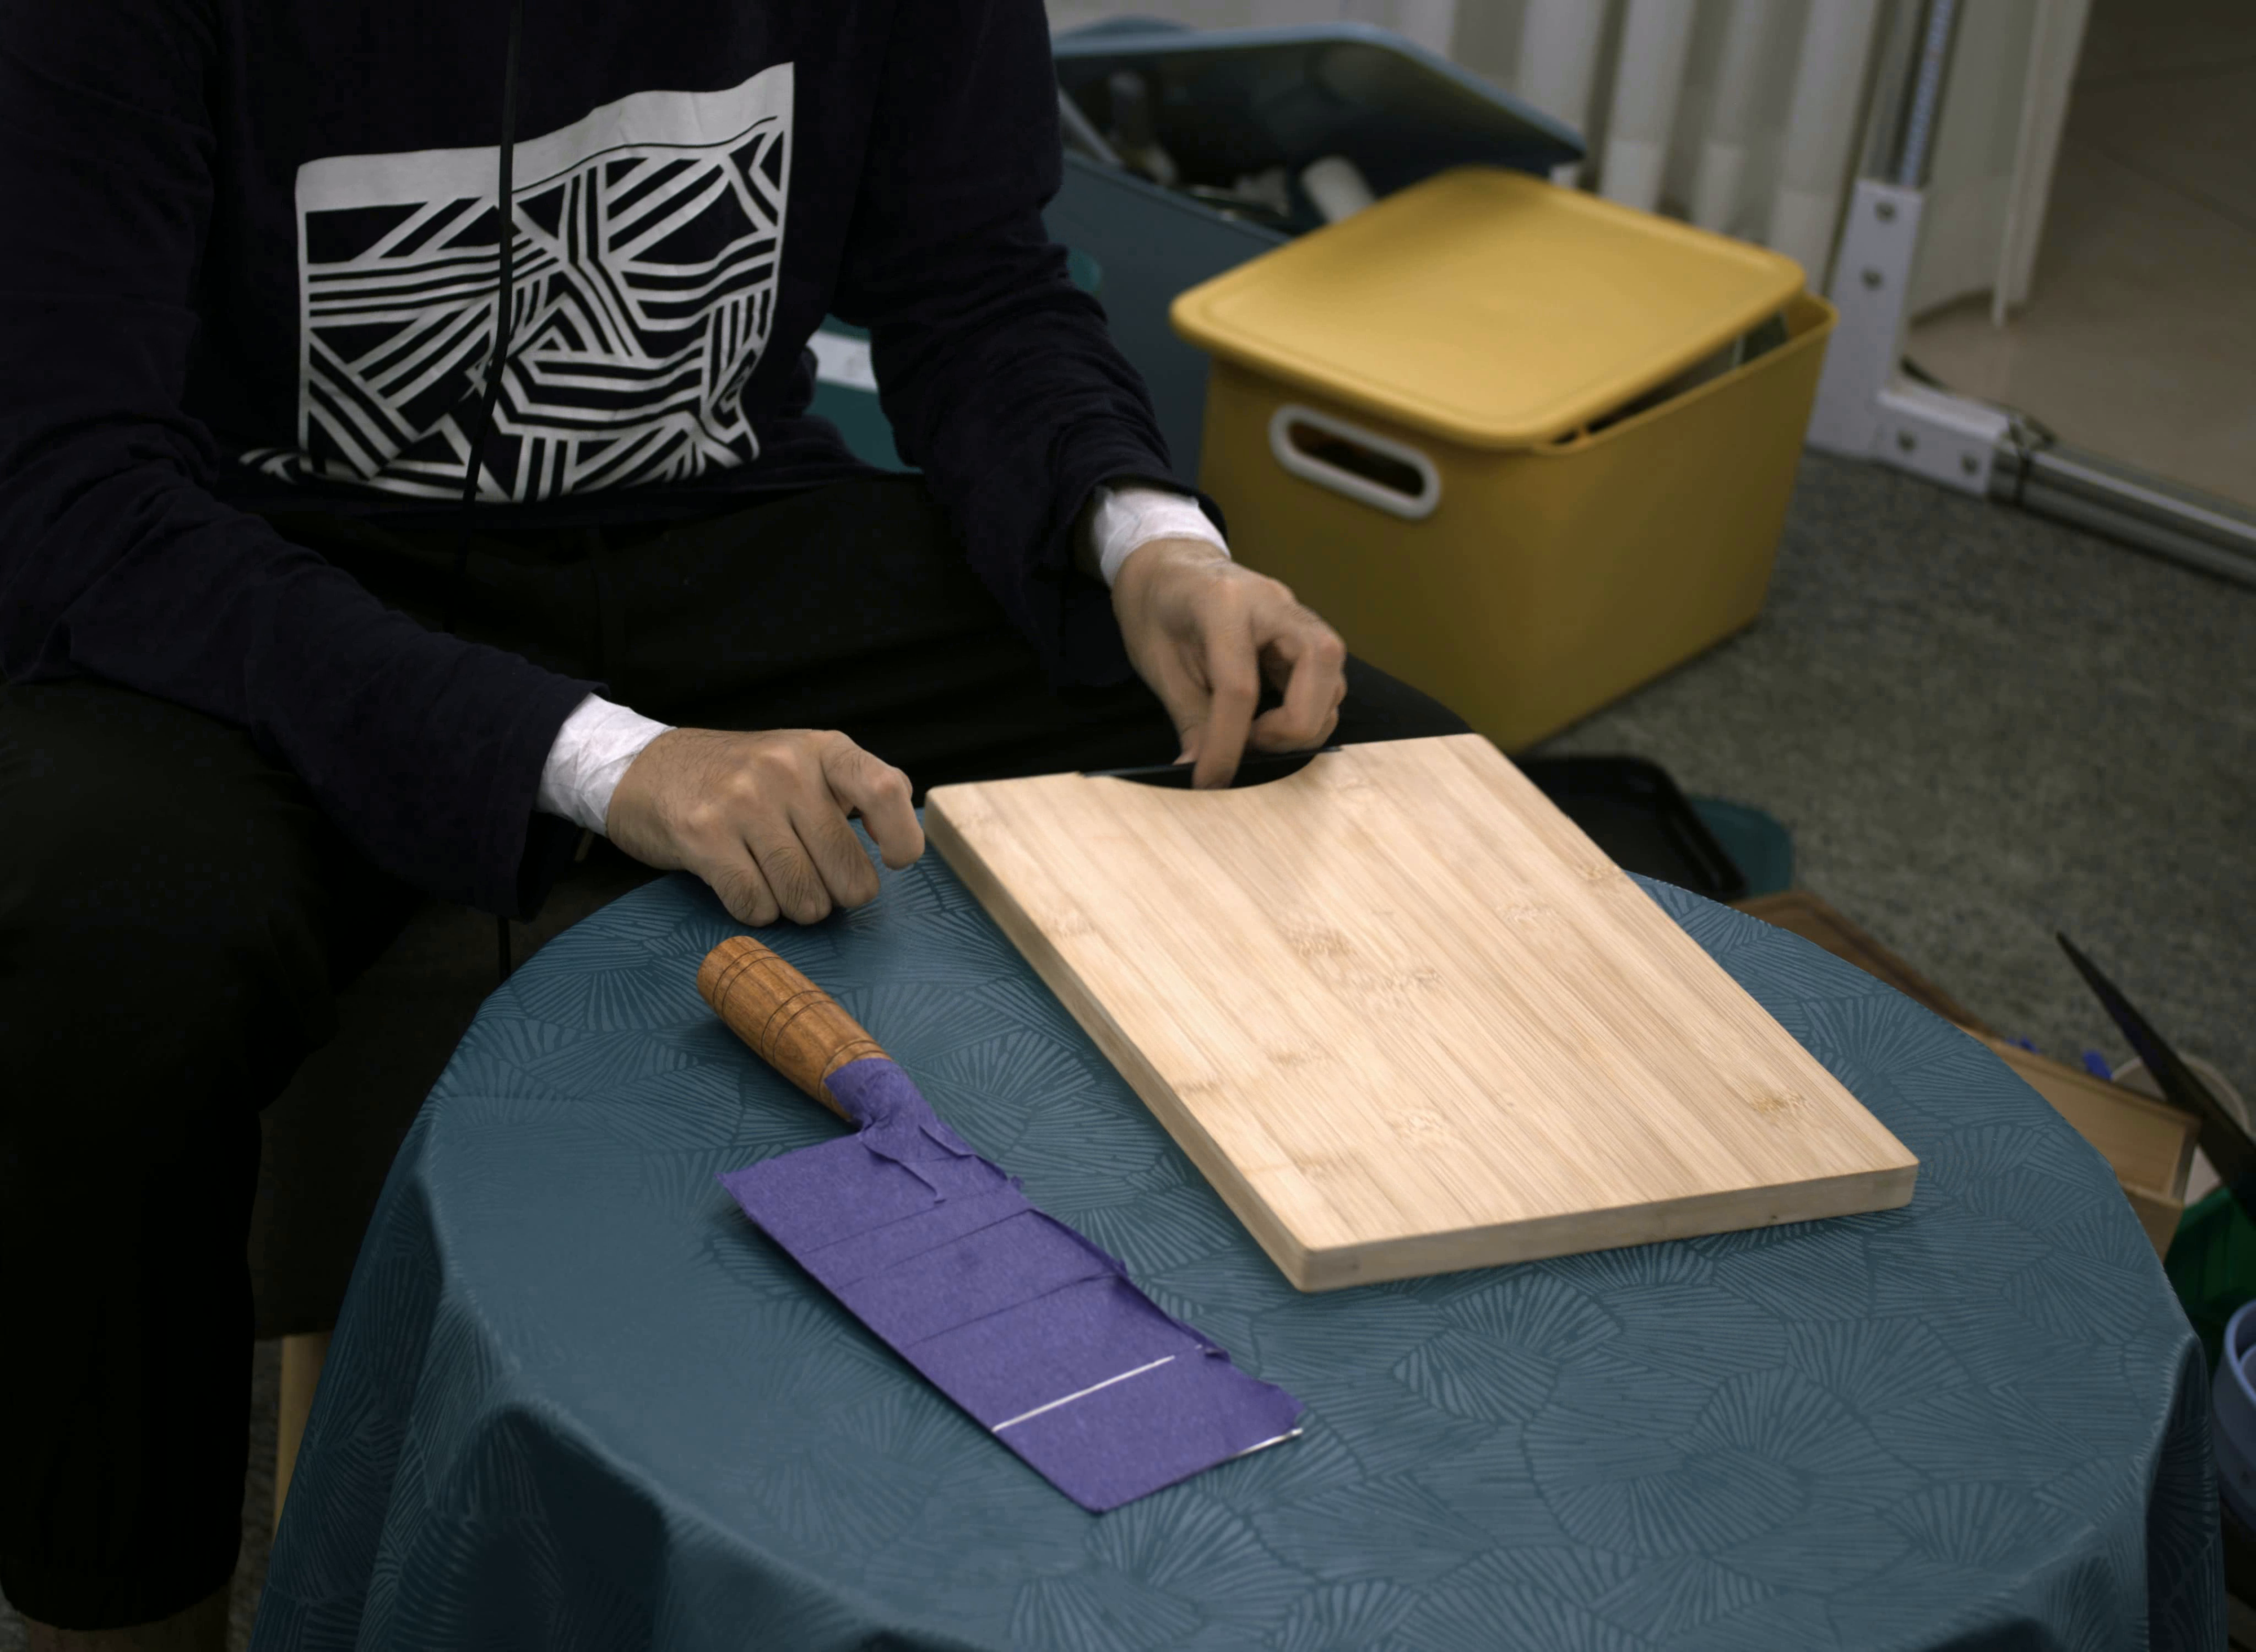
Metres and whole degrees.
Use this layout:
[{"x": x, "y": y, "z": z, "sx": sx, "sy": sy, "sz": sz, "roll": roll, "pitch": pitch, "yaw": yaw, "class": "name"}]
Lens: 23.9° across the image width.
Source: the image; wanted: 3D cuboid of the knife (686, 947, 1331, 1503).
[{"x": -0.070, "y": 0.127, "z": 1.754, "sx": 0.103, "sy": 0.032, "sz": 0.318, "roll": -15, "pitch": 34, "yaw": -37, "class": "knife"}]

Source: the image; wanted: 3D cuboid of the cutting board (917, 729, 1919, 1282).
[{"x": 0.097, "y": 0.058, "z": 1.939, "sx": 0.249, "sy": 0.023, "sz": 0.352, "roll": -6, "pitch": 29, "yaw": -24, "class": "cutting board"}]
